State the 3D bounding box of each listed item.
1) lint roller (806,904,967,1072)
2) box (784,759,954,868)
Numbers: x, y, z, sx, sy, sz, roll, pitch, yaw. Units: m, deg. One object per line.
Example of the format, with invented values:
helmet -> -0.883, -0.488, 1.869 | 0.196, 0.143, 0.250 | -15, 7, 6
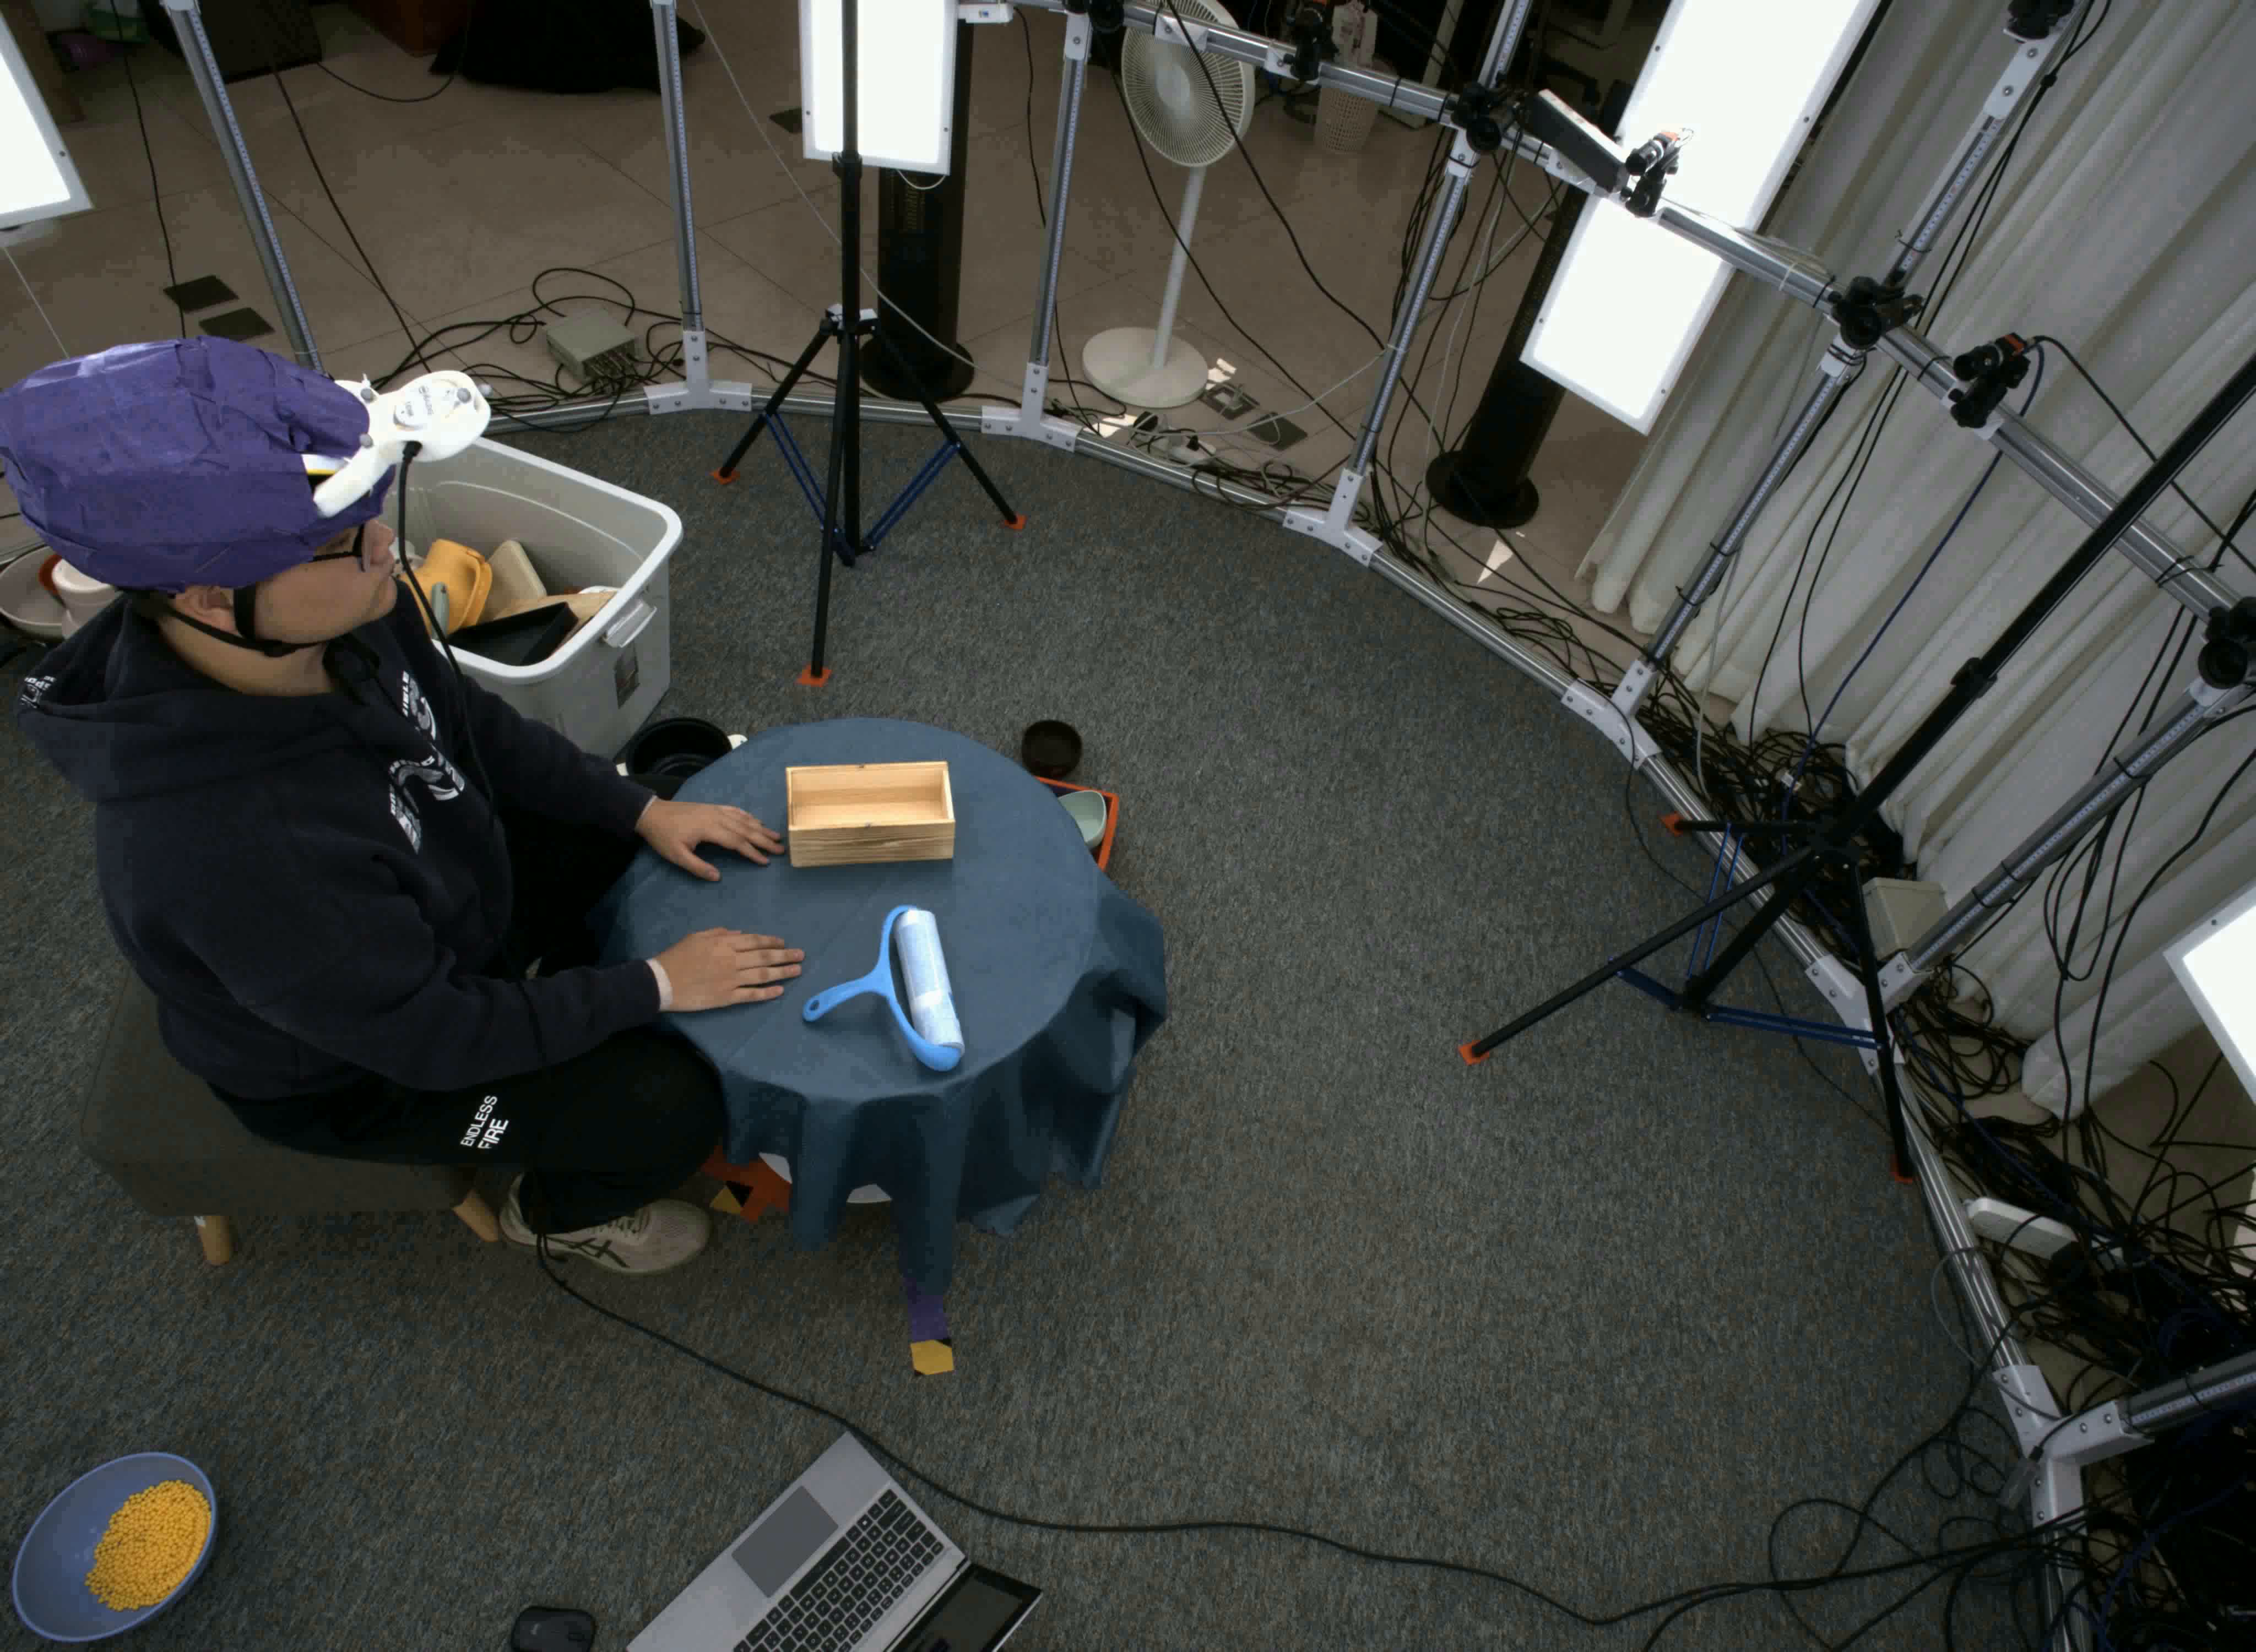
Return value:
lint roller -> -0.297, 0.200, 1.564 | 0.181, 0.069, 0.224 | -8, 58, -21
box -> -0.339, -0.018, 1.704 | 0.212, 0.082, 0.105 | -3, 54, -16
